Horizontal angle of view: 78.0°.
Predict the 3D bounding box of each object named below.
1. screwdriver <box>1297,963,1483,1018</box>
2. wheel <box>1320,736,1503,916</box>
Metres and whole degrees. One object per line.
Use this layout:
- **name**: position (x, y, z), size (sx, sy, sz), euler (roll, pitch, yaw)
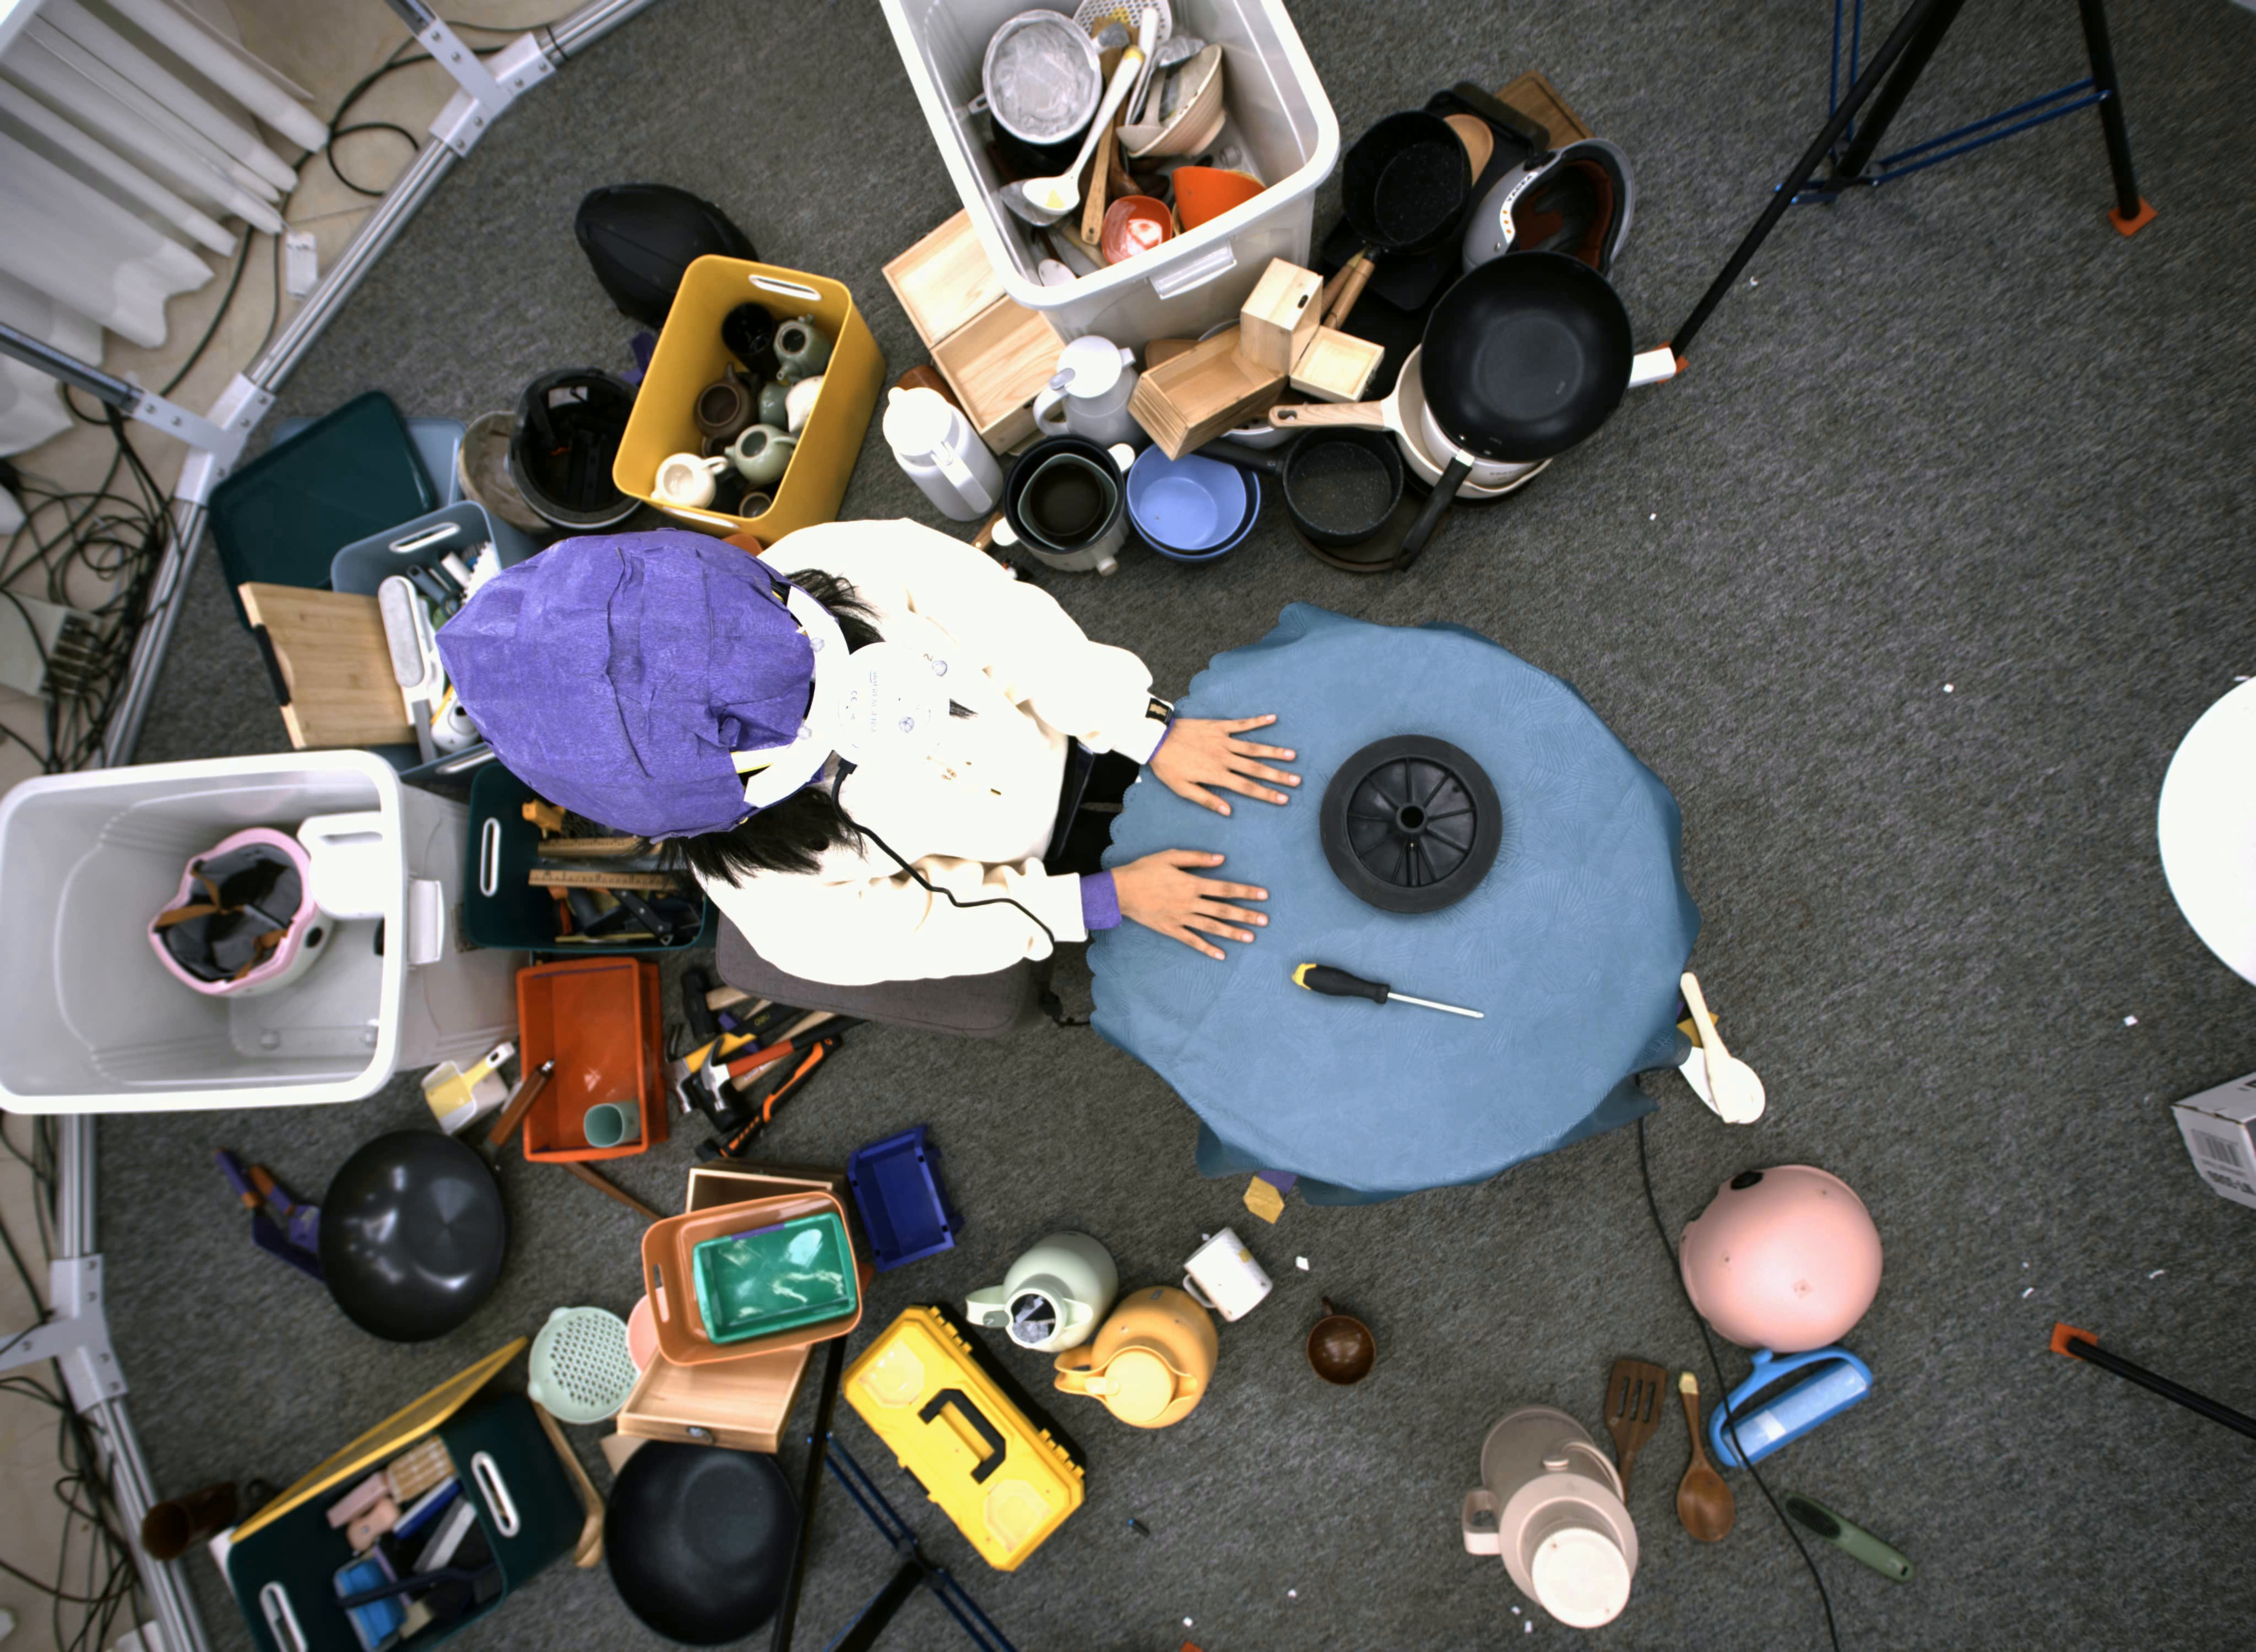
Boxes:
- **screwdriver**: position (0.274, 0.170, 1.442), size (0.196, 0.031, 0.031), euler (10, 87, 9)
- **wheel**: position (0.293, -0.004, 1.423), size (0.188, 0.079, 0.189), euler (-27, 84, 8)
